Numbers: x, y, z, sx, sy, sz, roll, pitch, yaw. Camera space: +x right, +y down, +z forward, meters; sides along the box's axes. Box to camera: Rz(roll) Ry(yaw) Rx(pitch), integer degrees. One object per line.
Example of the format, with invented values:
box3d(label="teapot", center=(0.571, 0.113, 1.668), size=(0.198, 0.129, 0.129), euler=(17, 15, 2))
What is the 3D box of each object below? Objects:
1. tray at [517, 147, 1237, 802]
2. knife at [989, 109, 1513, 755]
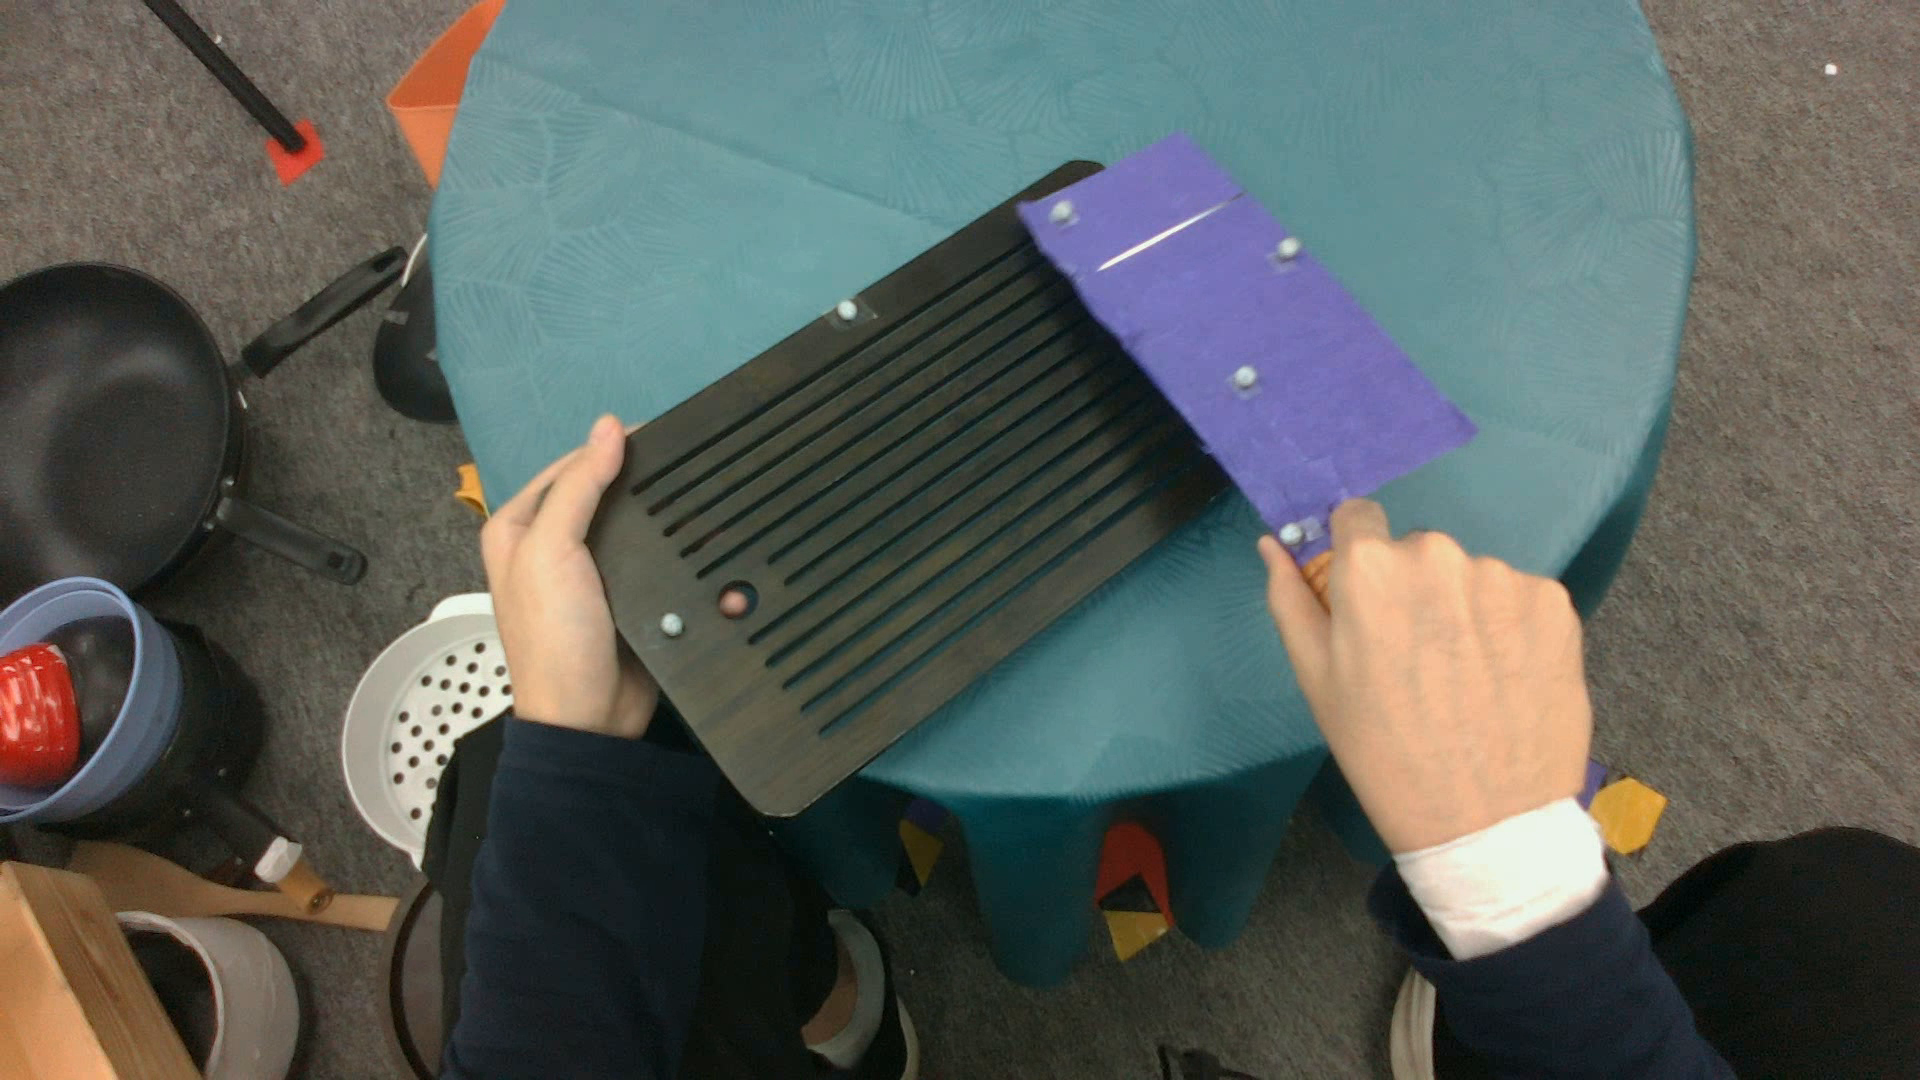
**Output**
box3d(label="tray", center=(-0.015, -0.042, 0.585), size=(0.307, 0.018, 0.170), euler=(-36, 74, -19))
box3d(label="knife", center=(0.128, -0.066, 0.539), size=(0.104, 0.032, 0.316), euler=(-28, 61, -7))
